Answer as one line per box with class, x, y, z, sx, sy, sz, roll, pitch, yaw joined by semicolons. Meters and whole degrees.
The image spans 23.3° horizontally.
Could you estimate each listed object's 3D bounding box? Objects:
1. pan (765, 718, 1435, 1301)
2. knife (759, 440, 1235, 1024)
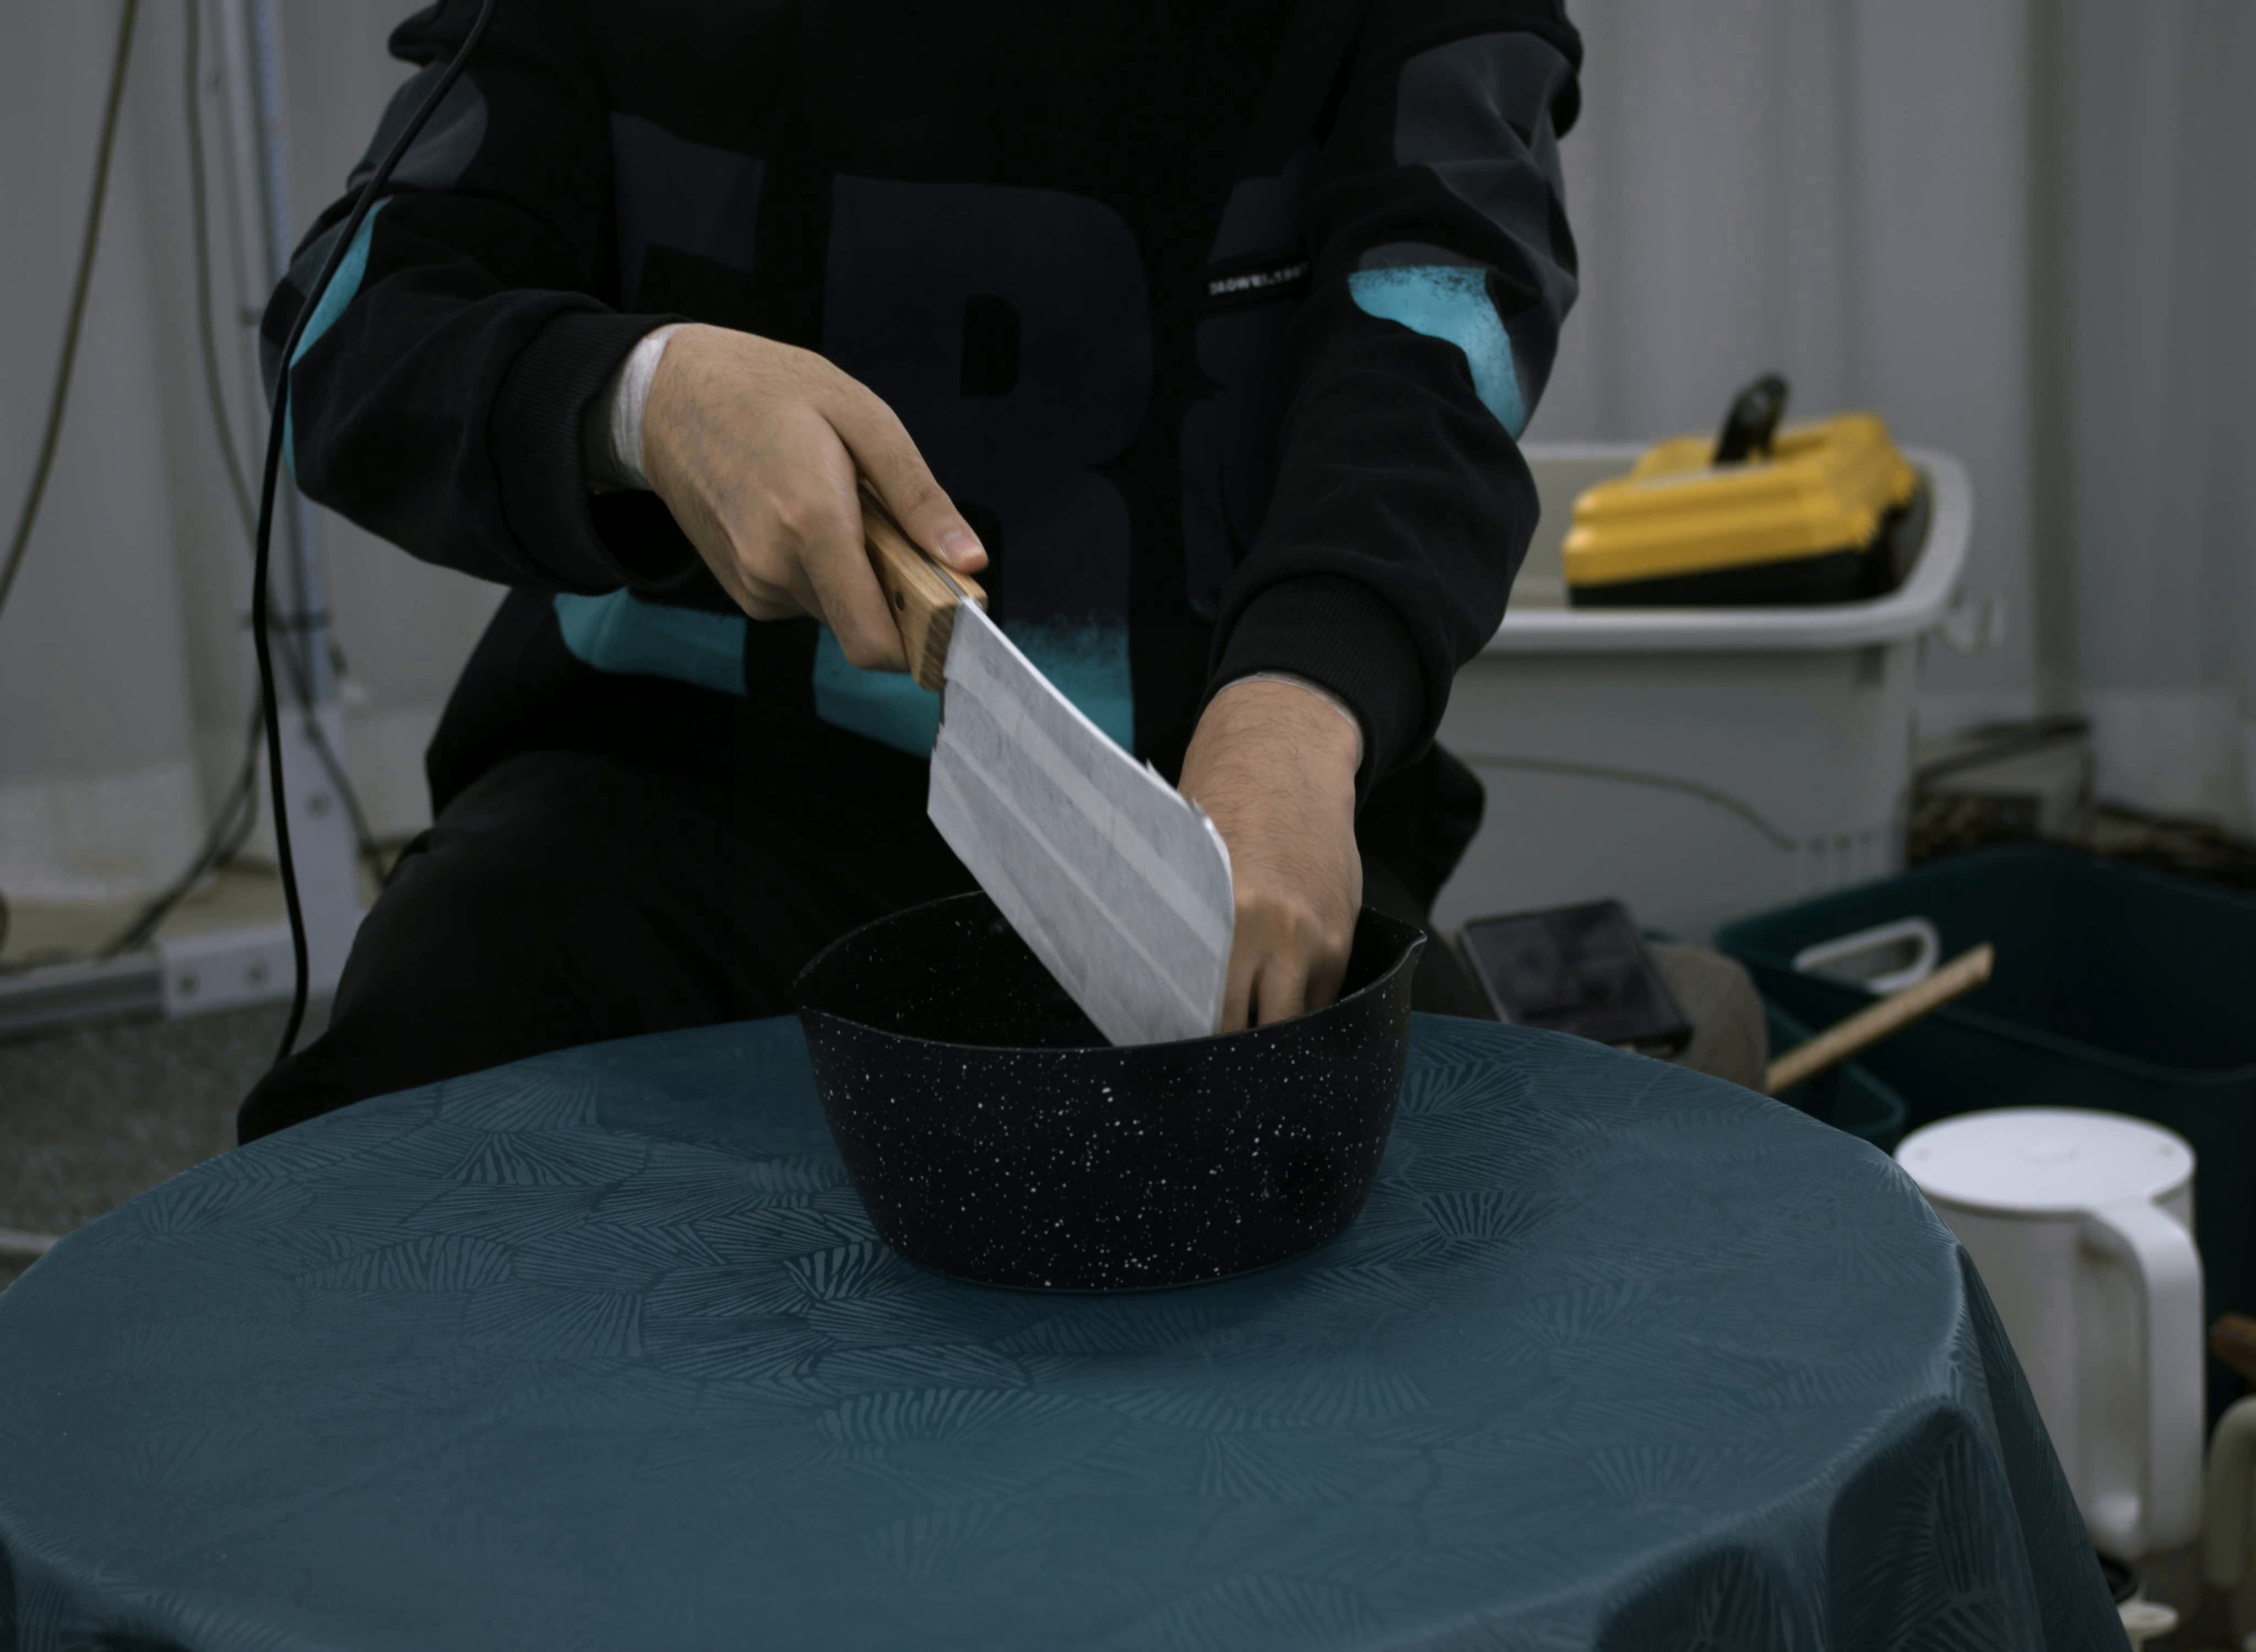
pan;-0.021;0.049;1.754;0.206;0.108;0.346;-7;17;-10
knife;-0.042;-0.029;1.714;0.021;0.113;0.320;-9;39;-28
